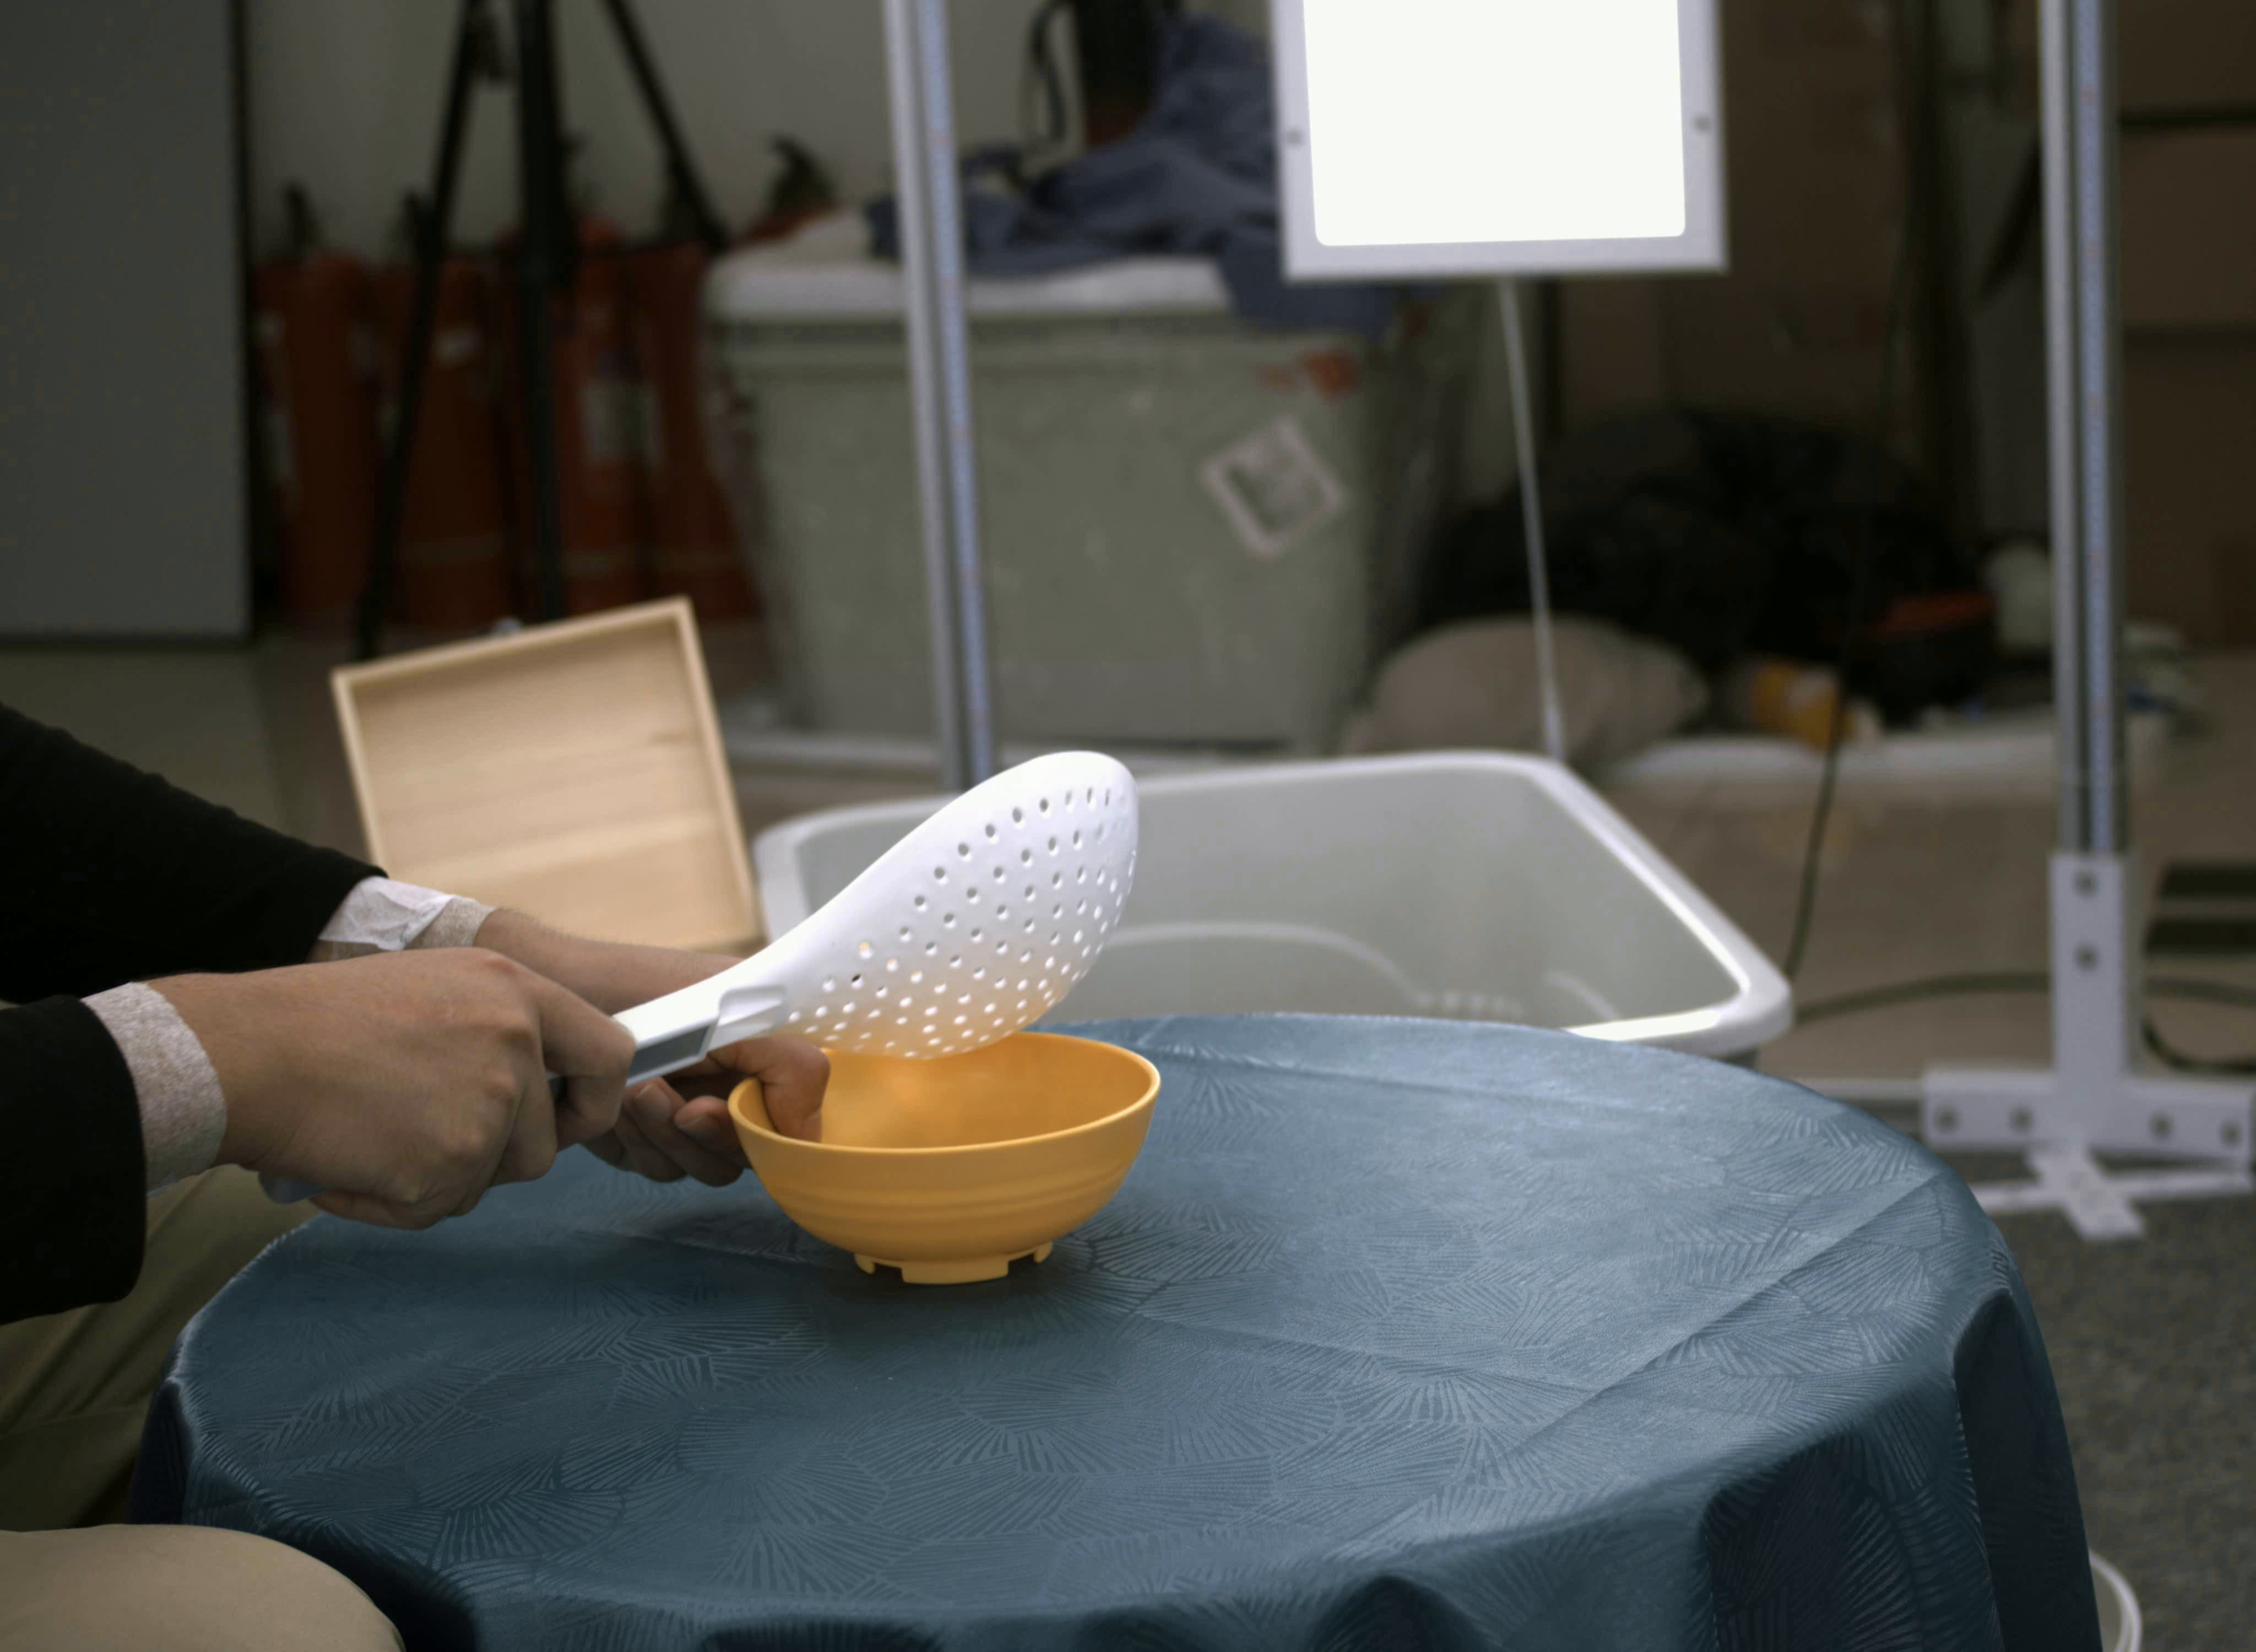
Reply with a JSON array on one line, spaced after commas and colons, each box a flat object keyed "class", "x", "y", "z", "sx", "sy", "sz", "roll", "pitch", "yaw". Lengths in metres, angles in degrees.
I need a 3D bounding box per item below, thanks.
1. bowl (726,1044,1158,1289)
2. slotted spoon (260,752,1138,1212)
[{"class": "bowl", "x": -0.061, "y": 0.117, "z": 1.839, "sx": 0.145, "sy": 0.060, "sz": 0.145, "roll": -2, "pitch": 11, "yaw": -1}, {"class": "slotted spoon", "x": -0.129, "y": 0.060, "z": 1.776, "sx": 0.341, "sy": 0.138, "sz": 0.046, "roll": -15, "pitch": 54, "yaw": -33}]
